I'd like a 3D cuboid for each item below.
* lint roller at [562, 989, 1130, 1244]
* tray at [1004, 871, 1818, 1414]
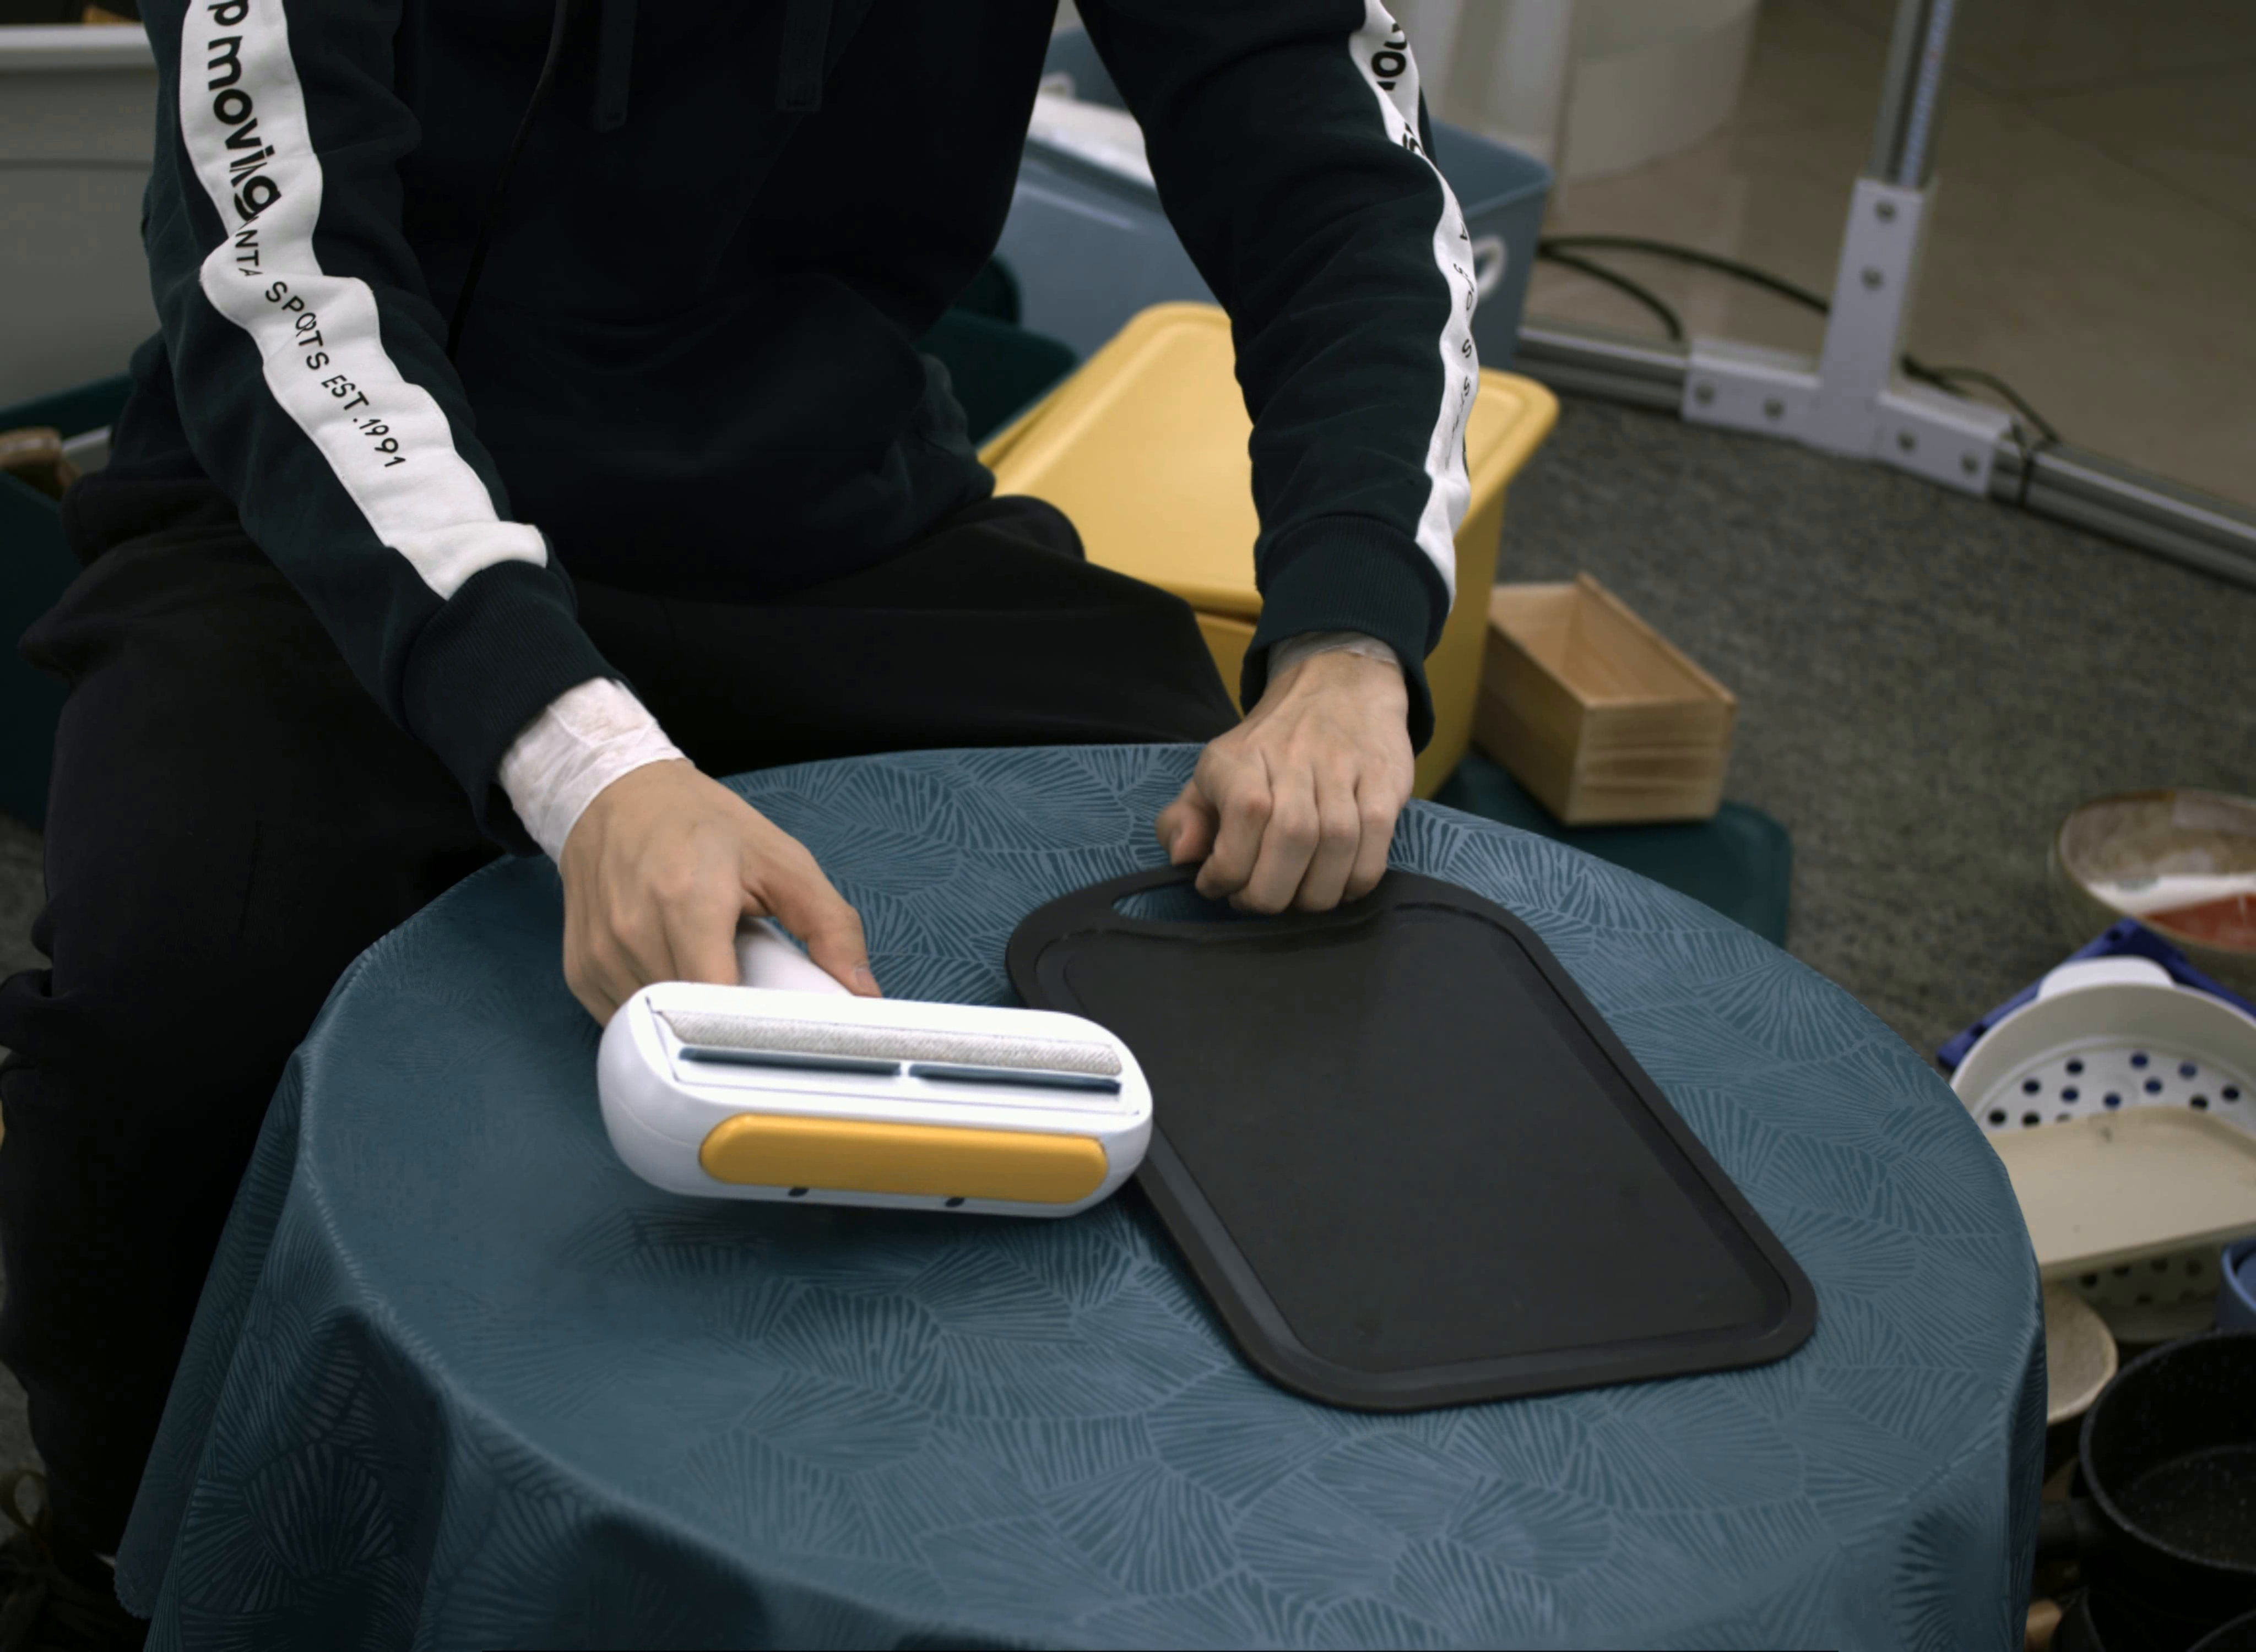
[{"bbox_3d":[-0.111,0.086,1.807,0.191,0.074,0.194,6,14,-20],"label":"lint roller"},{"bbox_3d":[0.089,0.100,1.840,0.210,0.010,0.328,-5,32,-21],"label":"tray"}]
